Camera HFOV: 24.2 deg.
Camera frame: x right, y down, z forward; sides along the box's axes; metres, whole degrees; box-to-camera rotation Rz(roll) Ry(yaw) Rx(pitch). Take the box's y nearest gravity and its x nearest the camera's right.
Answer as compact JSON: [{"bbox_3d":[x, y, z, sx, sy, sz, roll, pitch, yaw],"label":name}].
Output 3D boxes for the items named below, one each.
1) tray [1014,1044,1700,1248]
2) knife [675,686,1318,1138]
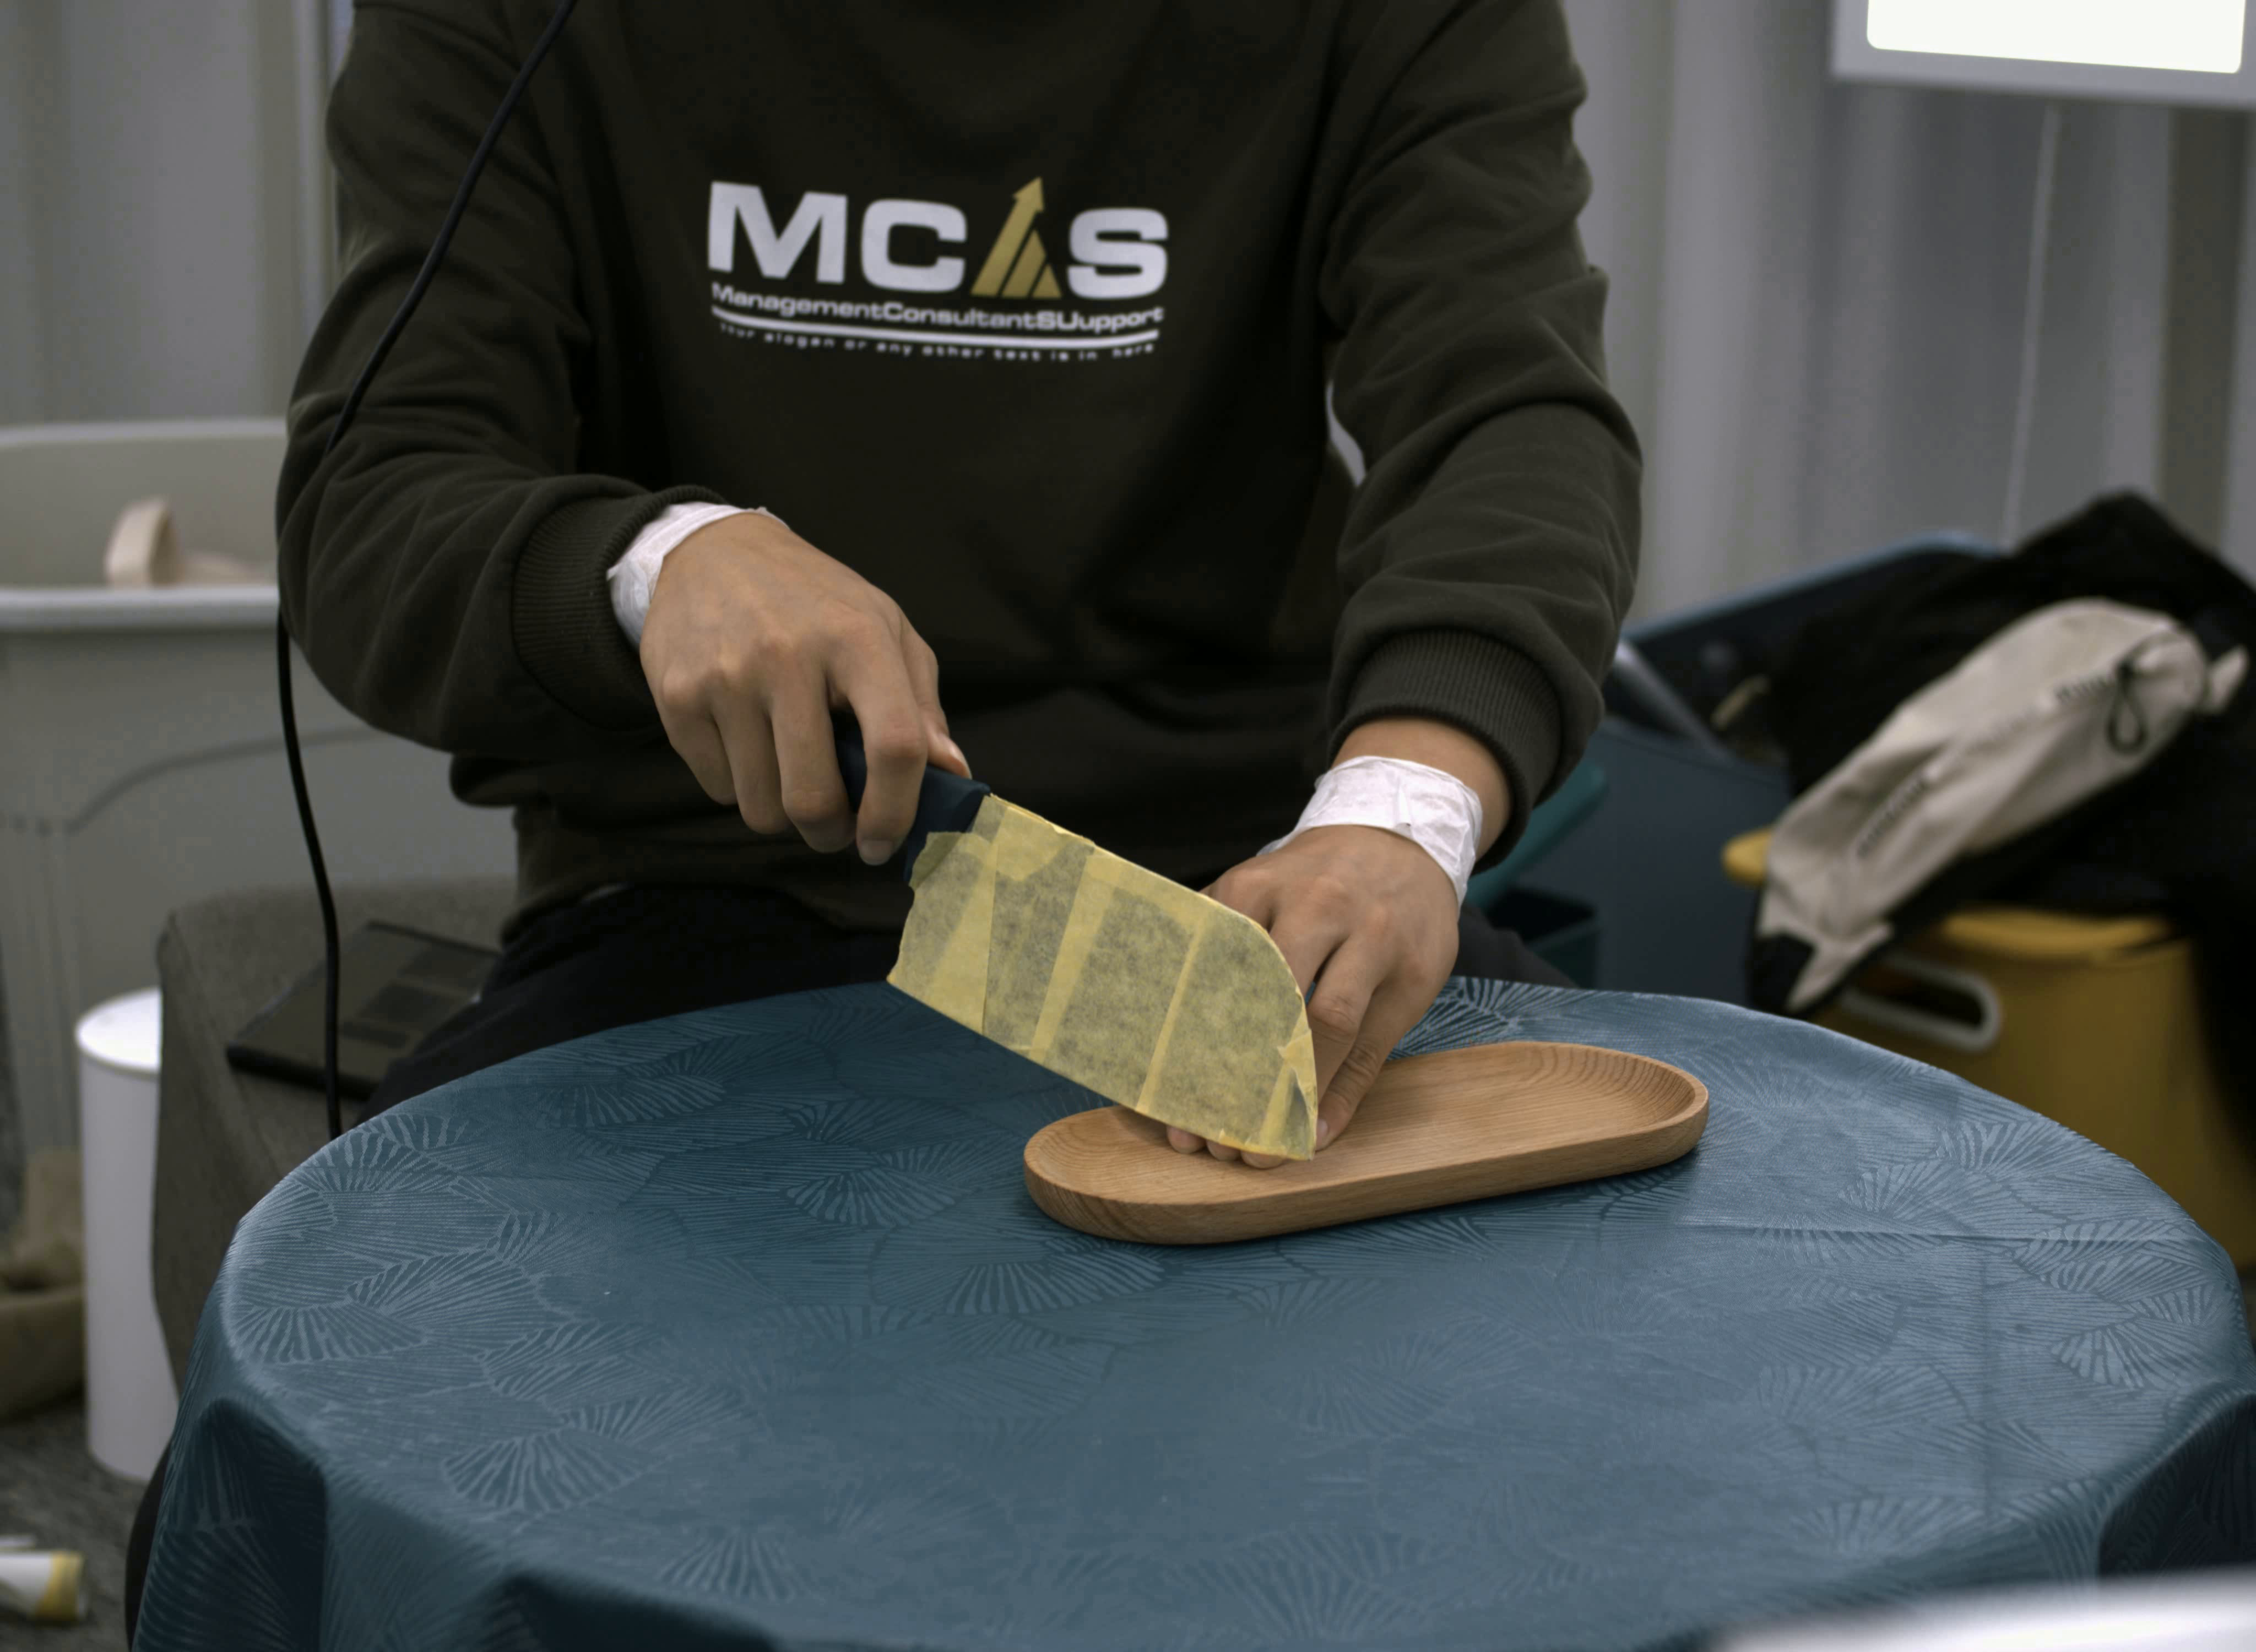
[{"bbox_3d":[0.073,0.100,1.645,0.232,0.020,0.100,-9,16,-27],"label":"tray"},{"bbox_3d":[-0.046,0.024,1.684,0.285,0.081,0.027,29,13,34],"label":"knife"}]
